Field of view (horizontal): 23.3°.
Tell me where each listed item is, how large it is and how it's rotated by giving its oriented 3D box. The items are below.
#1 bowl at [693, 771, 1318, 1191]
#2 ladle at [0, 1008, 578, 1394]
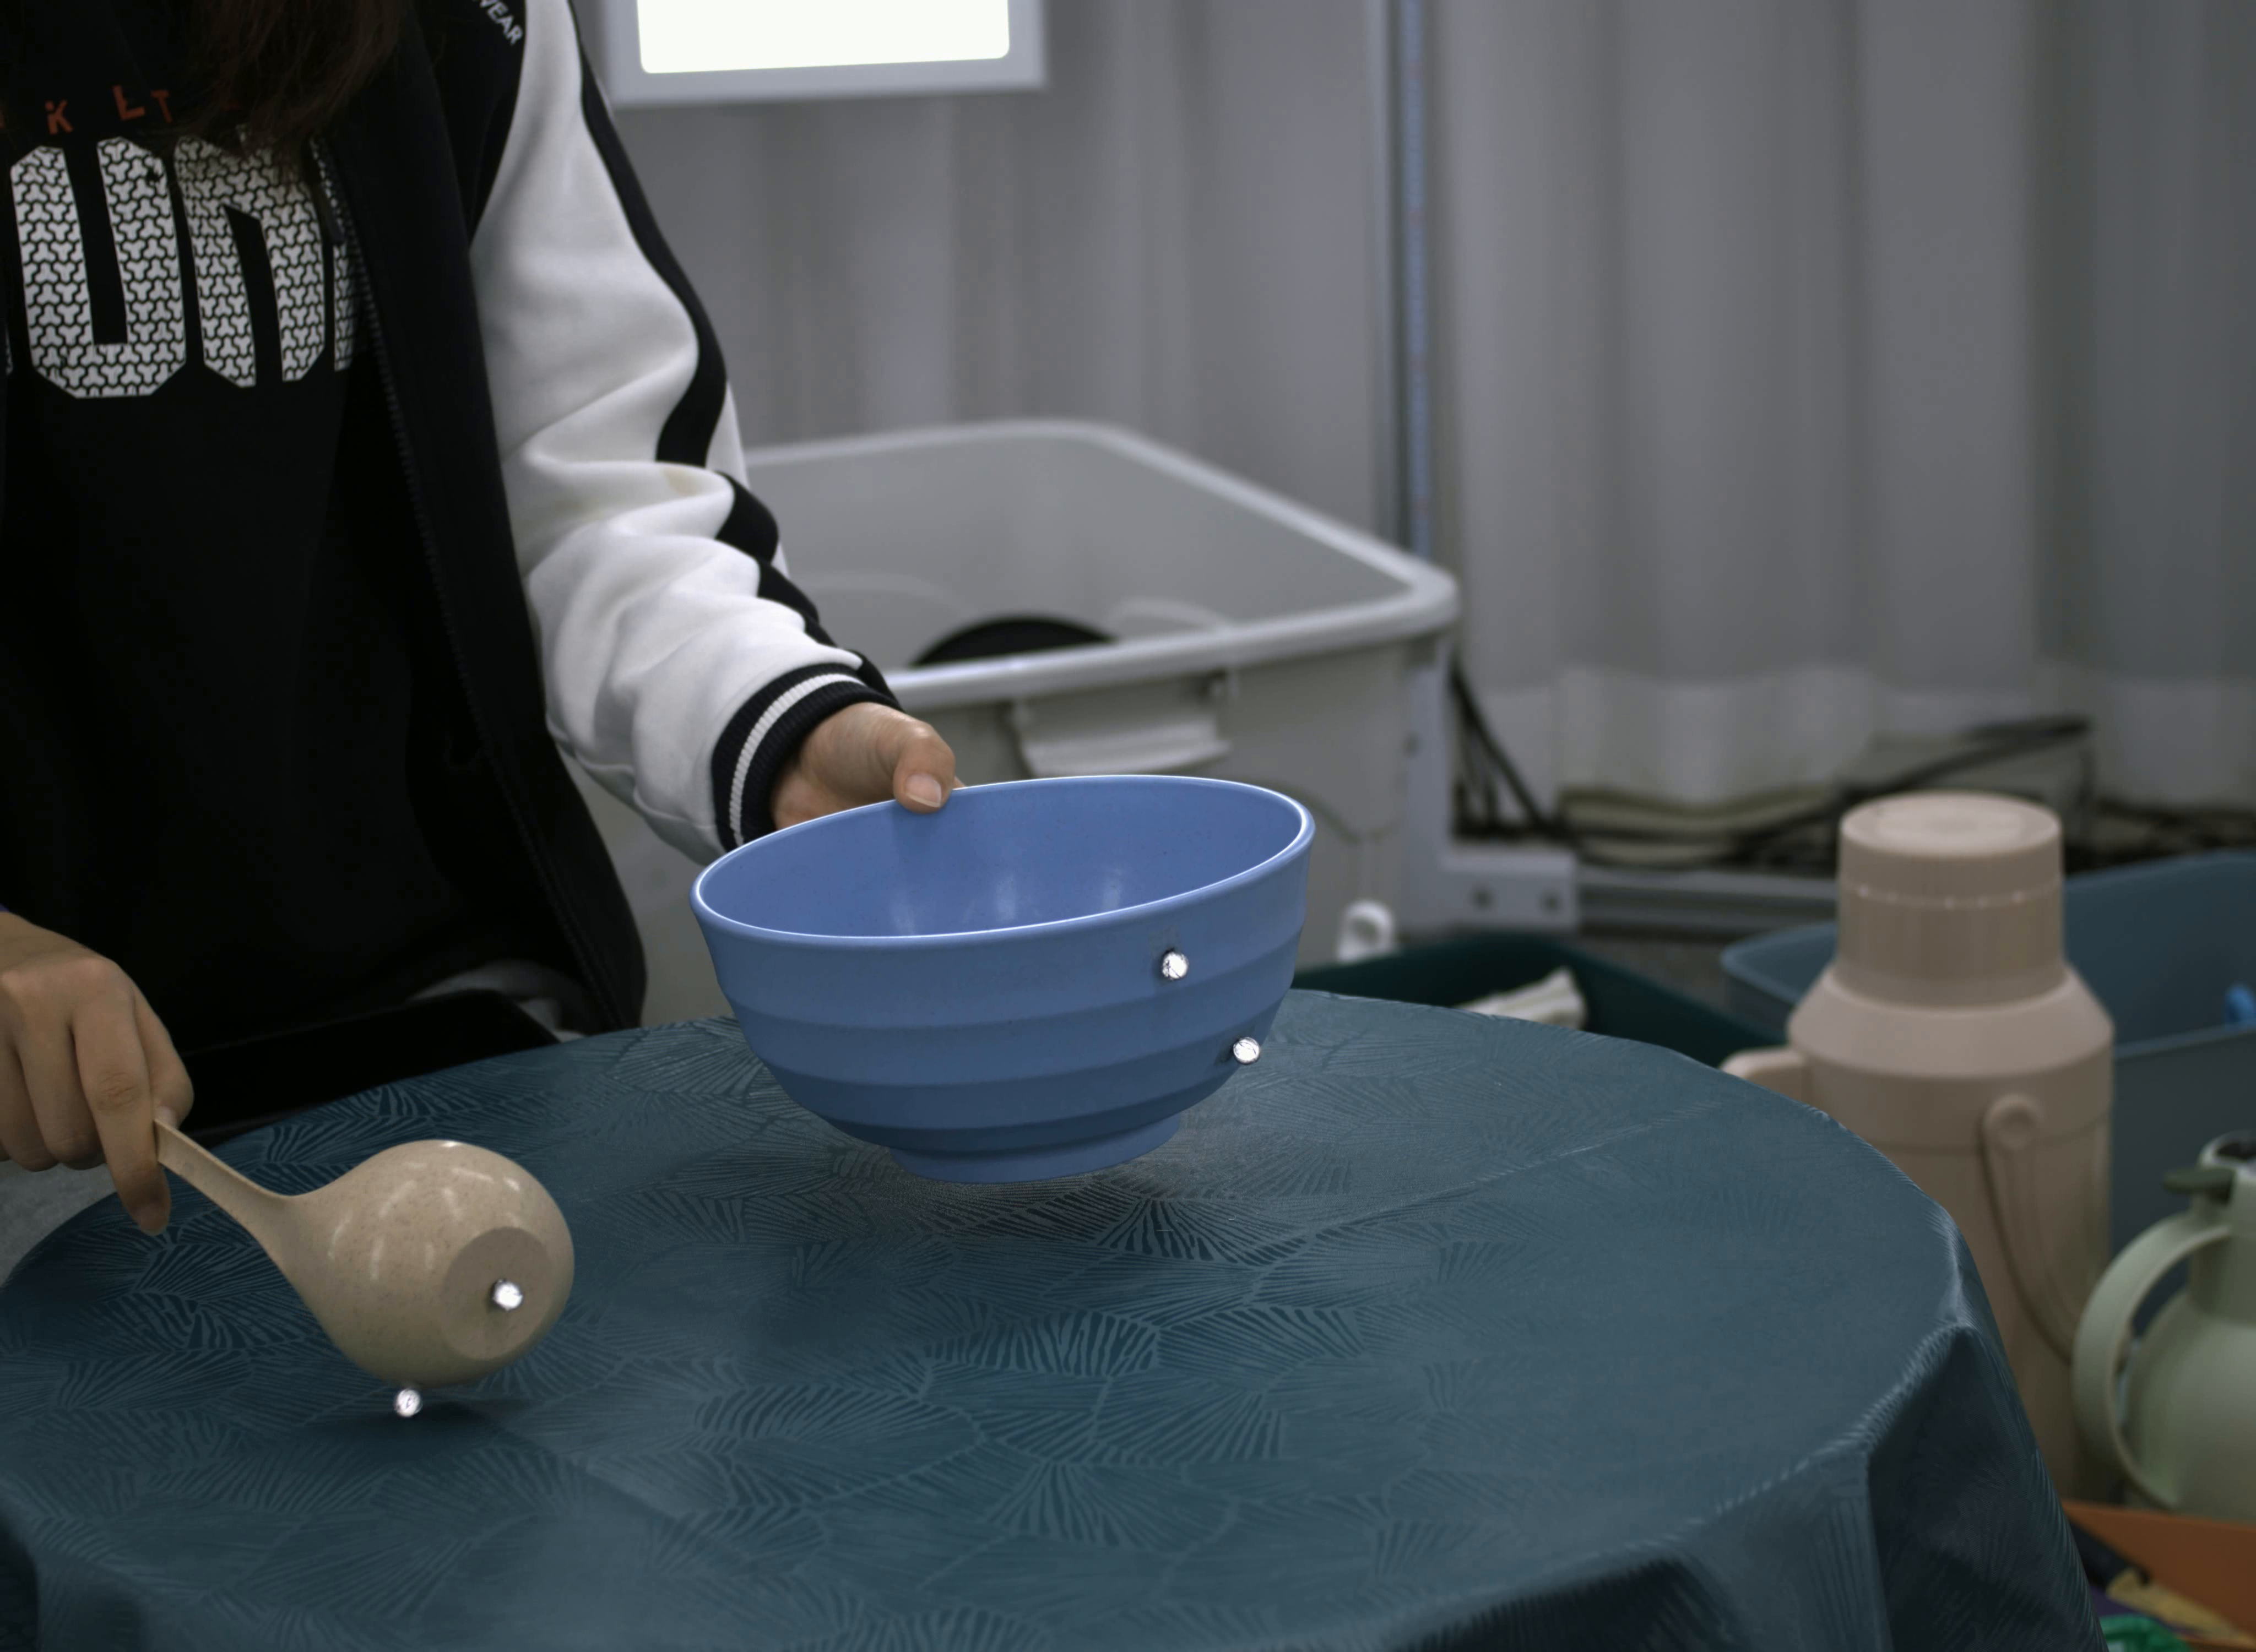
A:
[{"bbox_3d":[-0.033,0.055,1.711,0.196,0.095,0.198,-7,14,1],"label":"bowl"},{"bbox_3d":[-0.252,0.100,1.631,0.072,0.072,0.256,9,10,-38],"label":"ladle"}]
